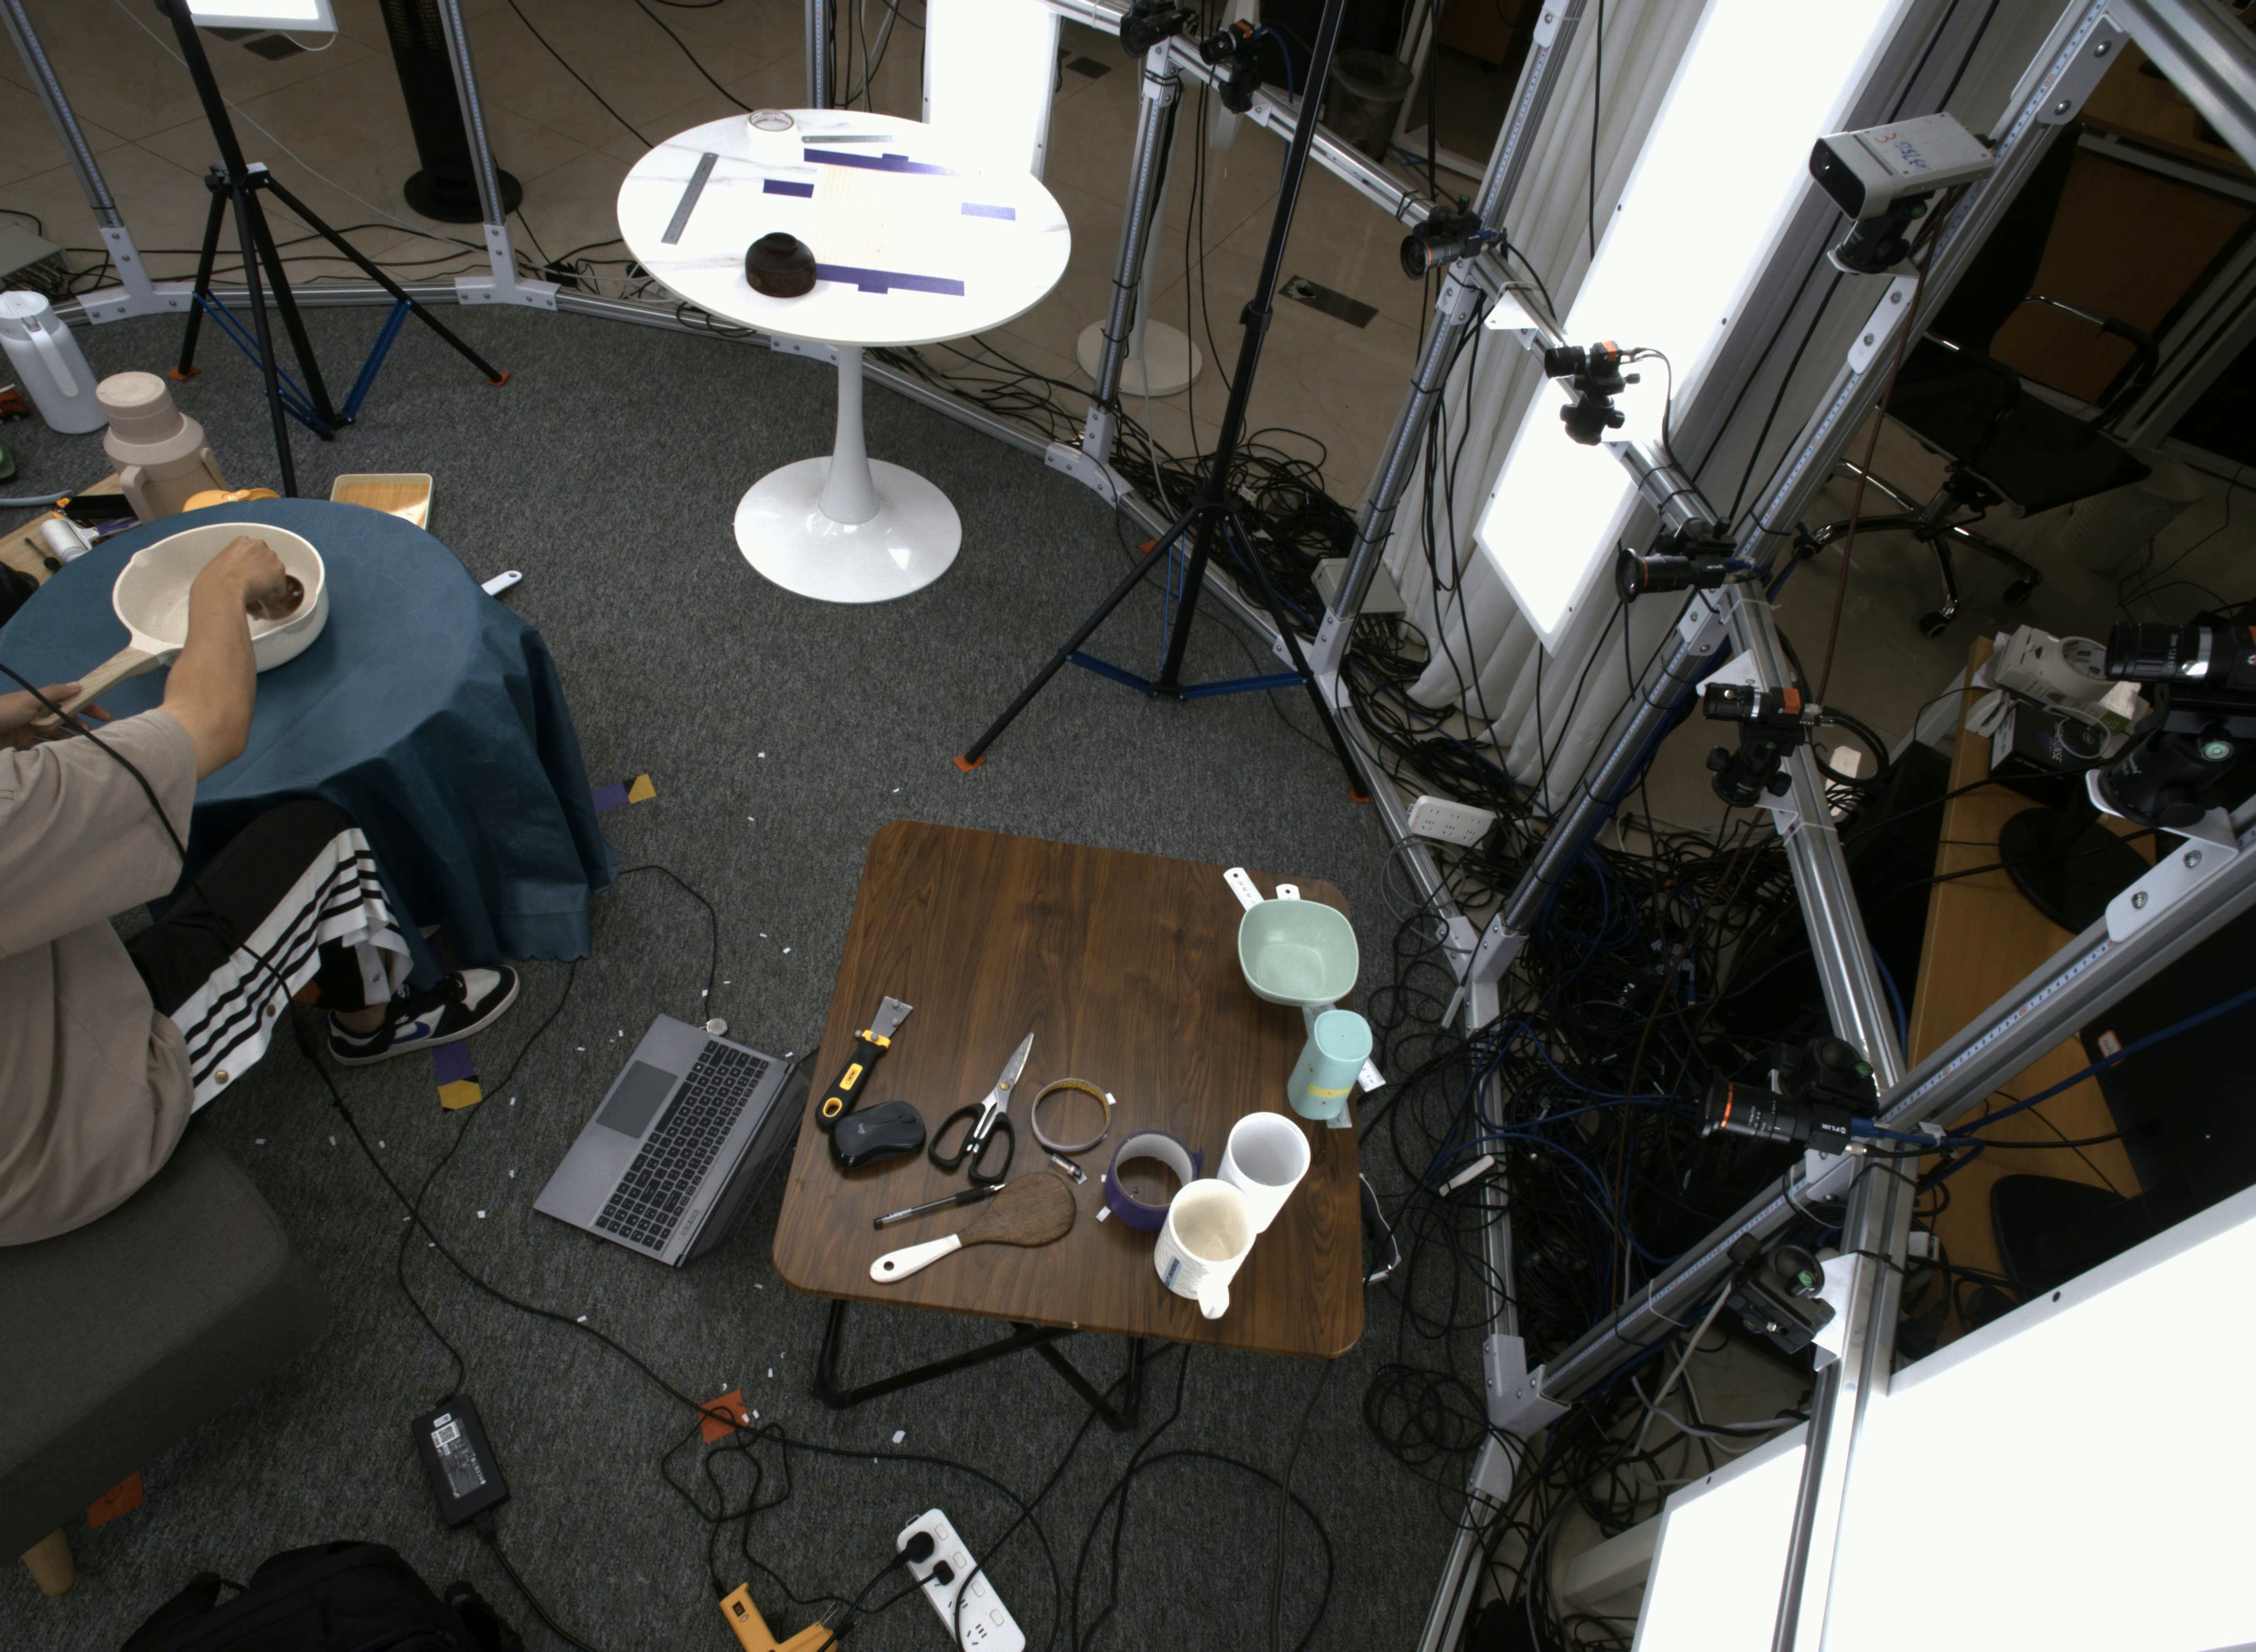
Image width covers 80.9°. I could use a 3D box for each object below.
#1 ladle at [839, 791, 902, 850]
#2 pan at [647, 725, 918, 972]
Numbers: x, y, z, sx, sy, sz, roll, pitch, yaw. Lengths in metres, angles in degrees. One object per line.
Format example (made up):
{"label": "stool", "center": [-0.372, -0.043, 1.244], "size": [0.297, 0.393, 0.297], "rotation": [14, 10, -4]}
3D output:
{"label": "ladle", "center": [-0.311, -0.013, 1.580], "size": [0.082, 0.271, 0.077], "rotation": [-17, 91, -12]}
{"label": "pan", "center": [-0.446, 0.044, 1.633], "size": [0.259, 0.104, 0.433], "rotation": [31, 54, 9]}
